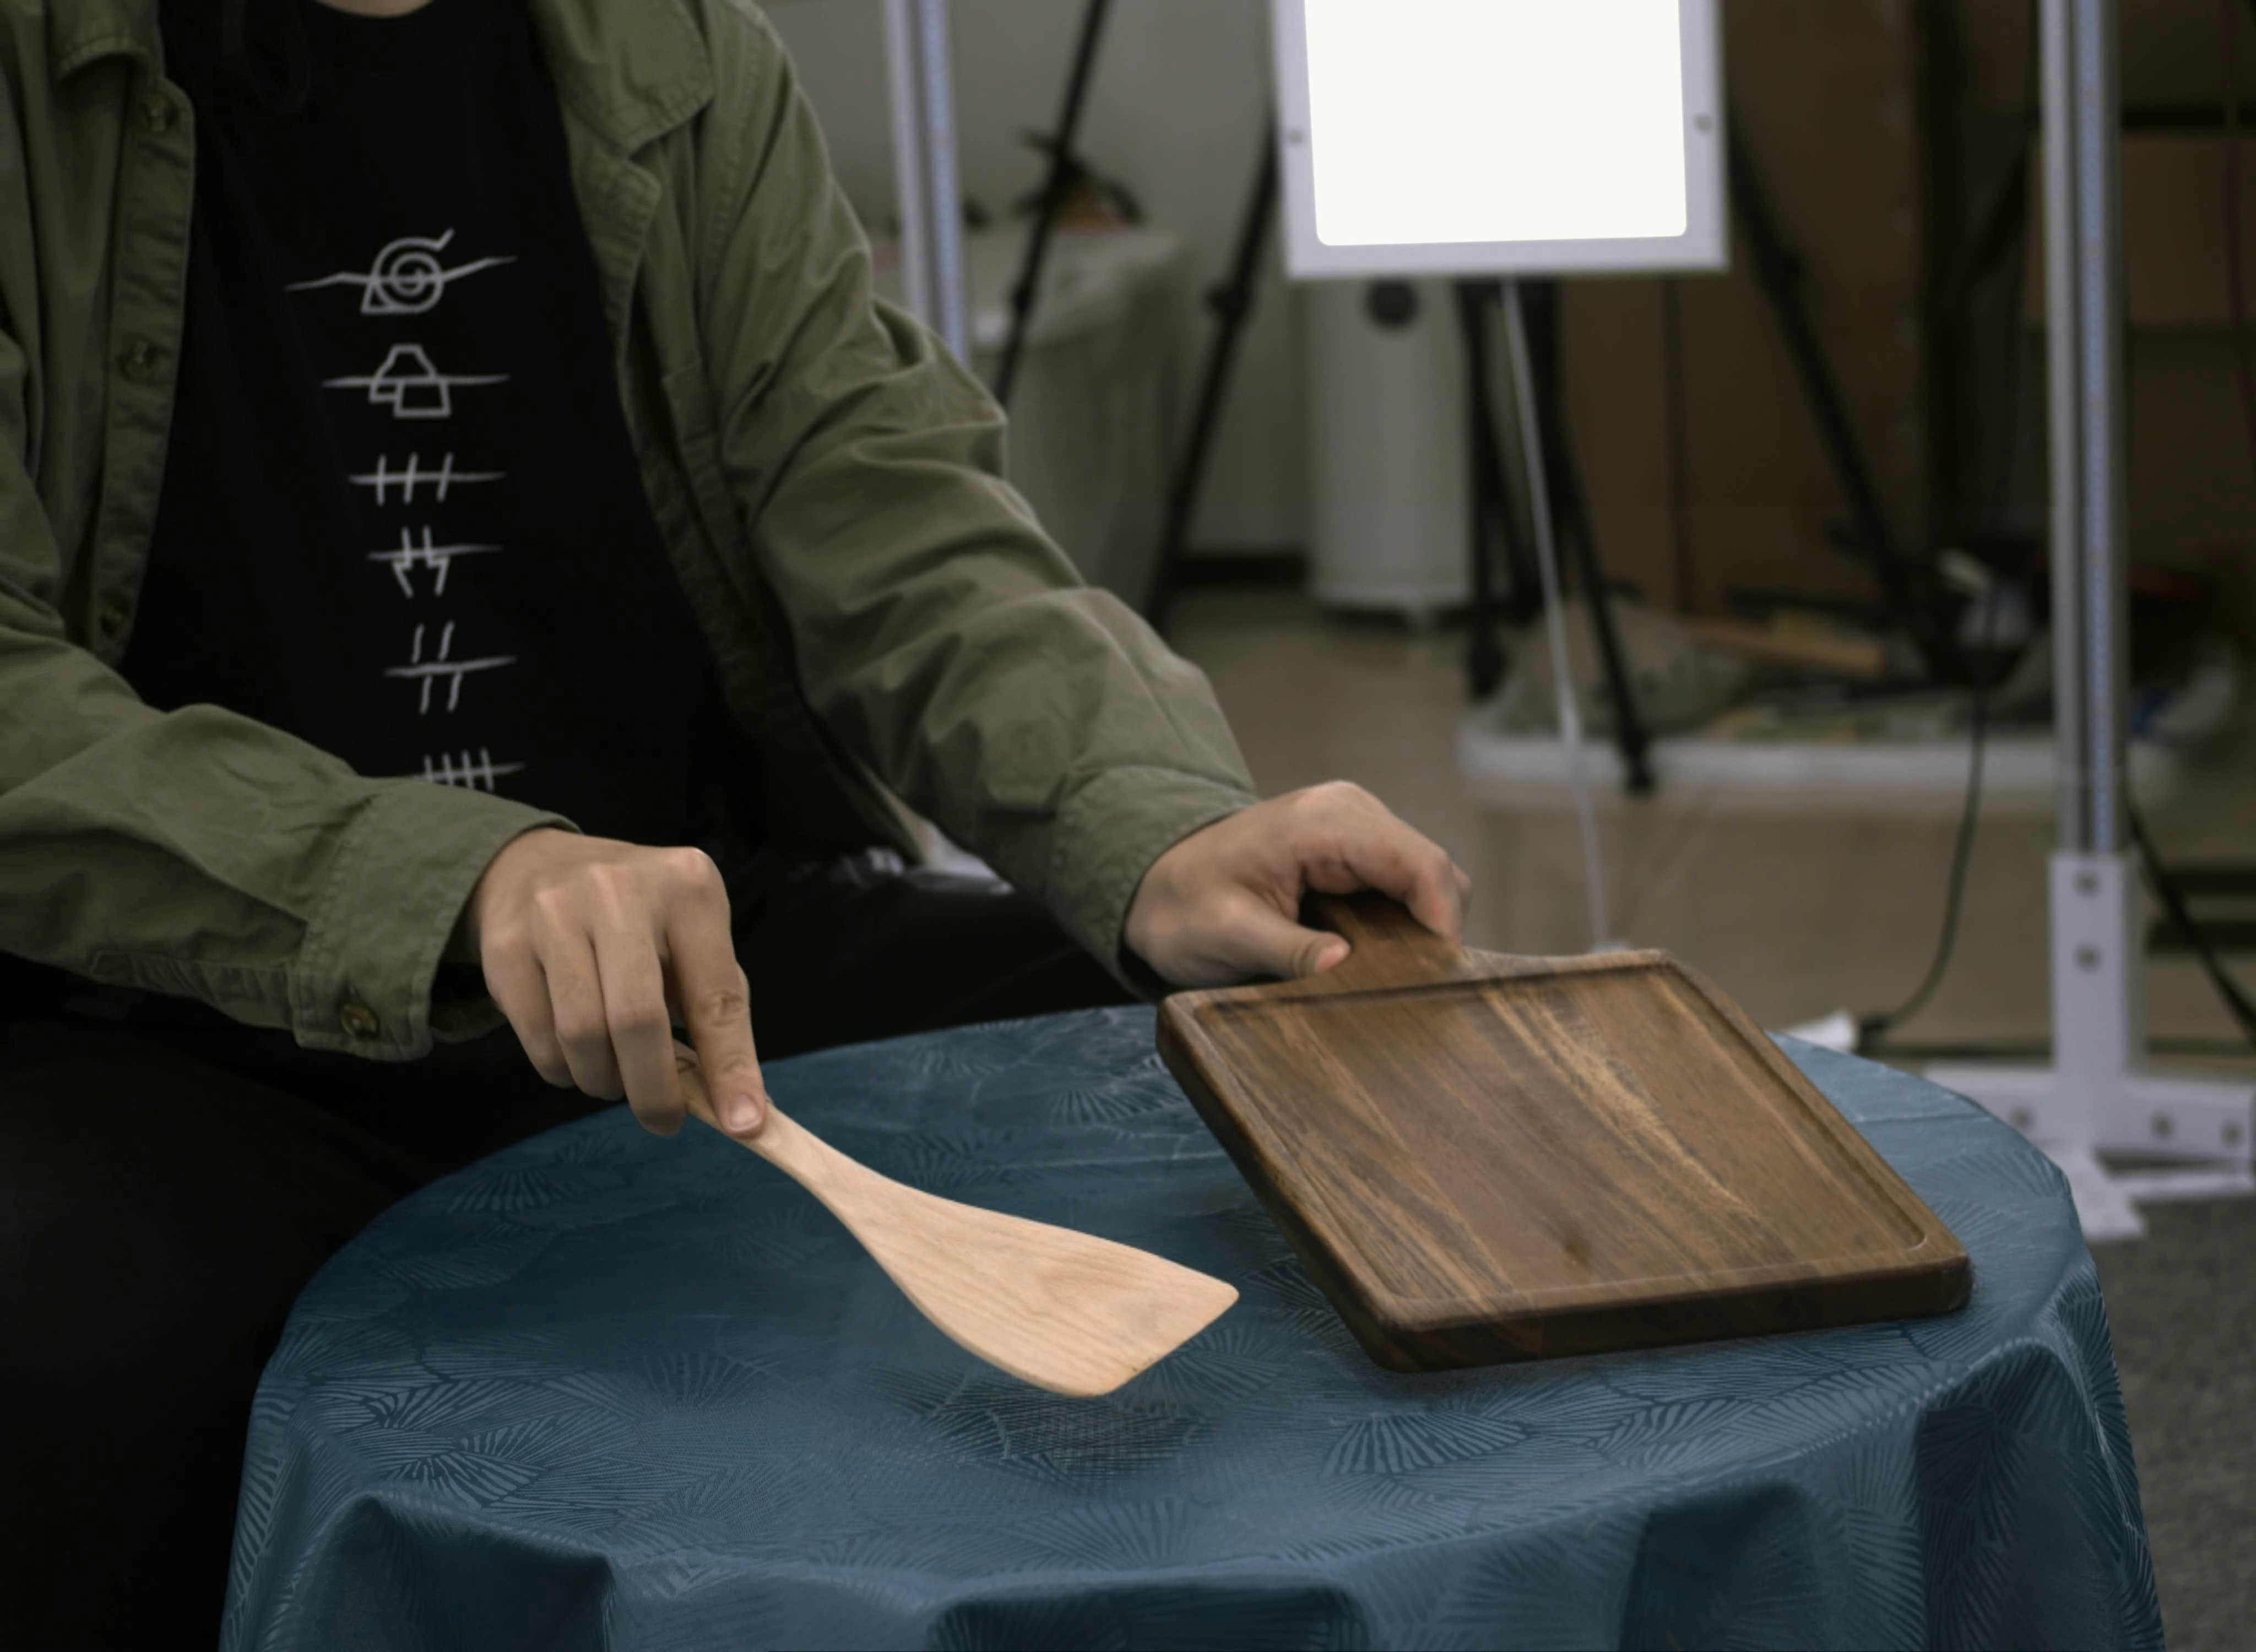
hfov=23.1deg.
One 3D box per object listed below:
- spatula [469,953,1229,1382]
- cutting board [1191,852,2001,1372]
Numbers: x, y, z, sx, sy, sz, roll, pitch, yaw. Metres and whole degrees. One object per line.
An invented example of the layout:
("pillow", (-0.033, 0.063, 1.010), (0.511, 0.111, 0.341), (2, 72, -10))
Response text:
("spatula", (-0.100, 0.100, 1.747), (0.078, 0.016, 0.333), (-23, 36, -38))
("cutting board", (0.135, 0.084, 1.830), (0.198, 0.023, 0.355), (-5, 23, -14))
